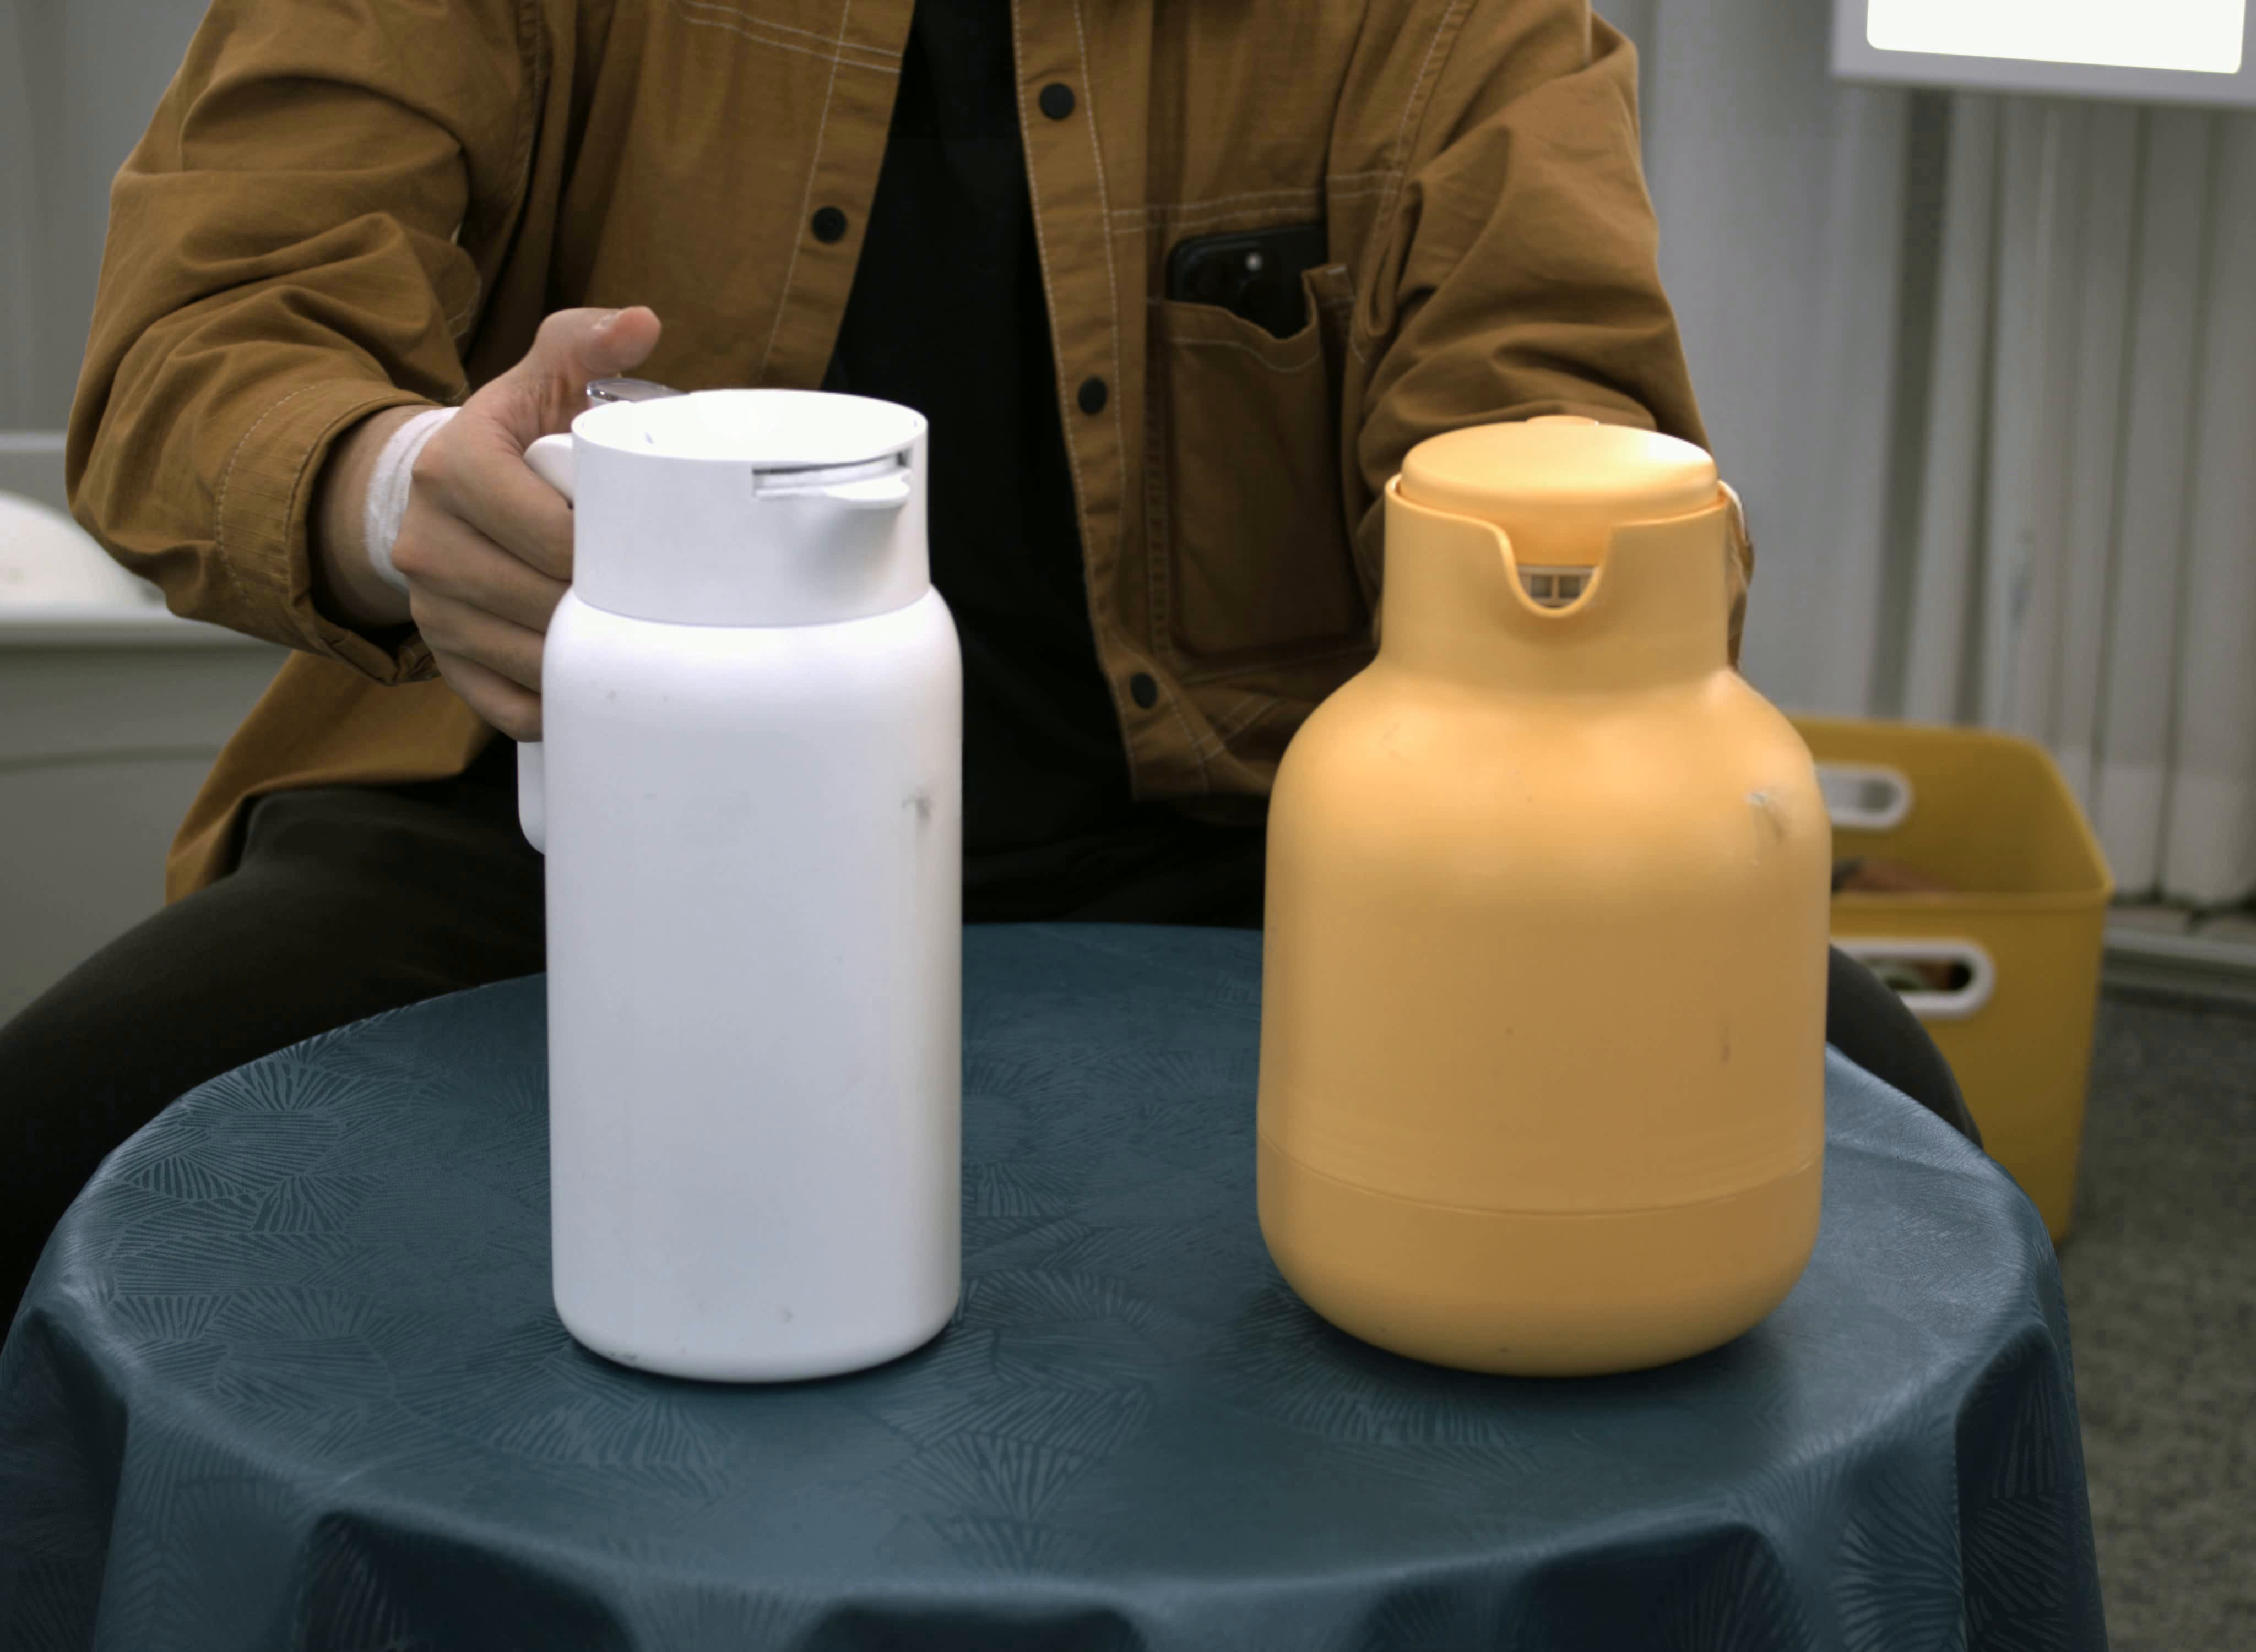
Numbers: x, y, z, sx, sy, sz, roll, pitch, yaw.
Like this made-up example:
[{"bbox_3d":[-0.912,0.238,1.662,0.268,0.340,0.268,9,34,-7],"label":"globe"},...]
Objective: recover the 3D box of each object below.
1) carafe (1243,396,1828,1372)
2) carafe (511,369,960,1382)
[{"bbox_3d":[0.121,0.008,1.507,0.162,0.262,0.201,5,18,6],"label":"carafe"},{"bbox_3d":[-0.118,0.010,1.484,0.124,0.271,0.170,-14,21,-36],"label":"carafe"}]
